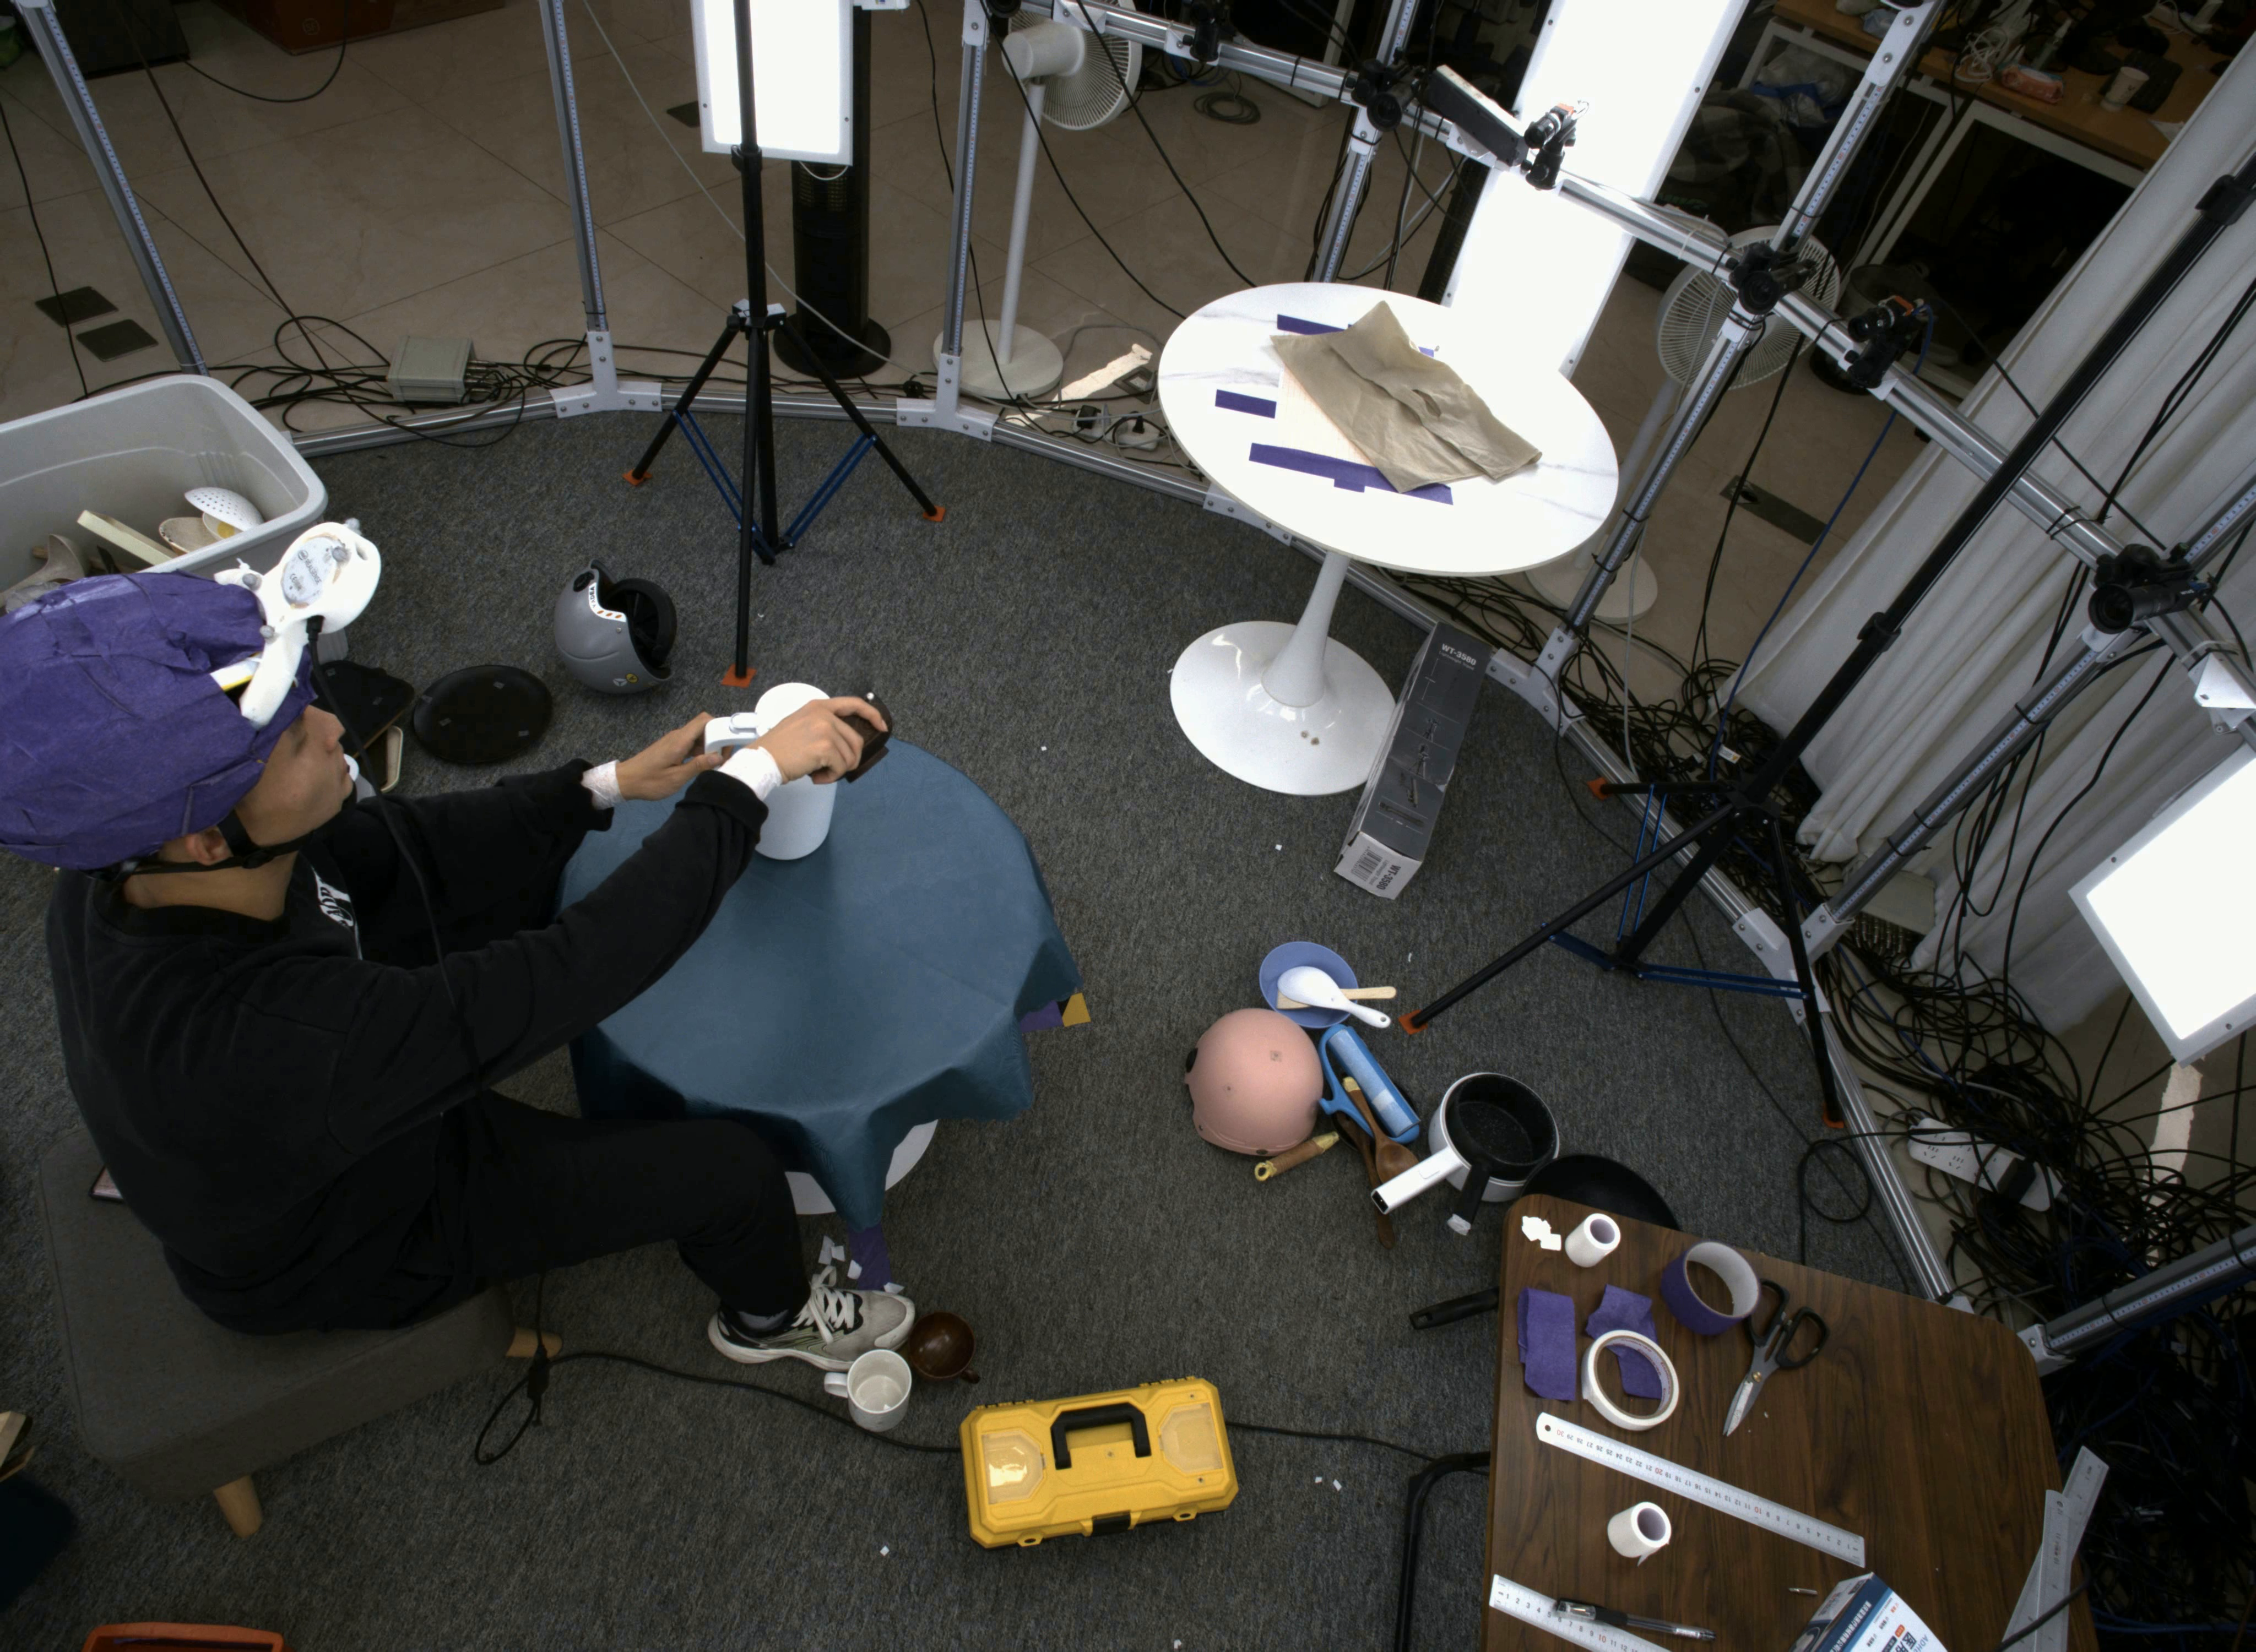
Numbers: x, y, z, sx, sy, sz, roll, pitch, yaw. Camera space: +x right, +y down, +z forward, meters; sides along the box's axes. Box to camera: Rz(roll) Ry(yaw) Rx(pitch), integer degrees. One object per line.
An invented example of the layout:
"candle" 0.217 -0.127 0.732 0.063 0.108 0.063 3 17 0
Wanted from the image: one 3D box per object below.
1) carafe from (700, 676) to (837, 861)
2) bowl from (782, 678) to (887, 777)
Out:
"carafe" -0.434 -0.065 1.585 0.174 0.270 0.122 -5 66 -21
"bowl" -0.313 -0.099 1.422 0.071 0.116 0.118 51 52 -12
